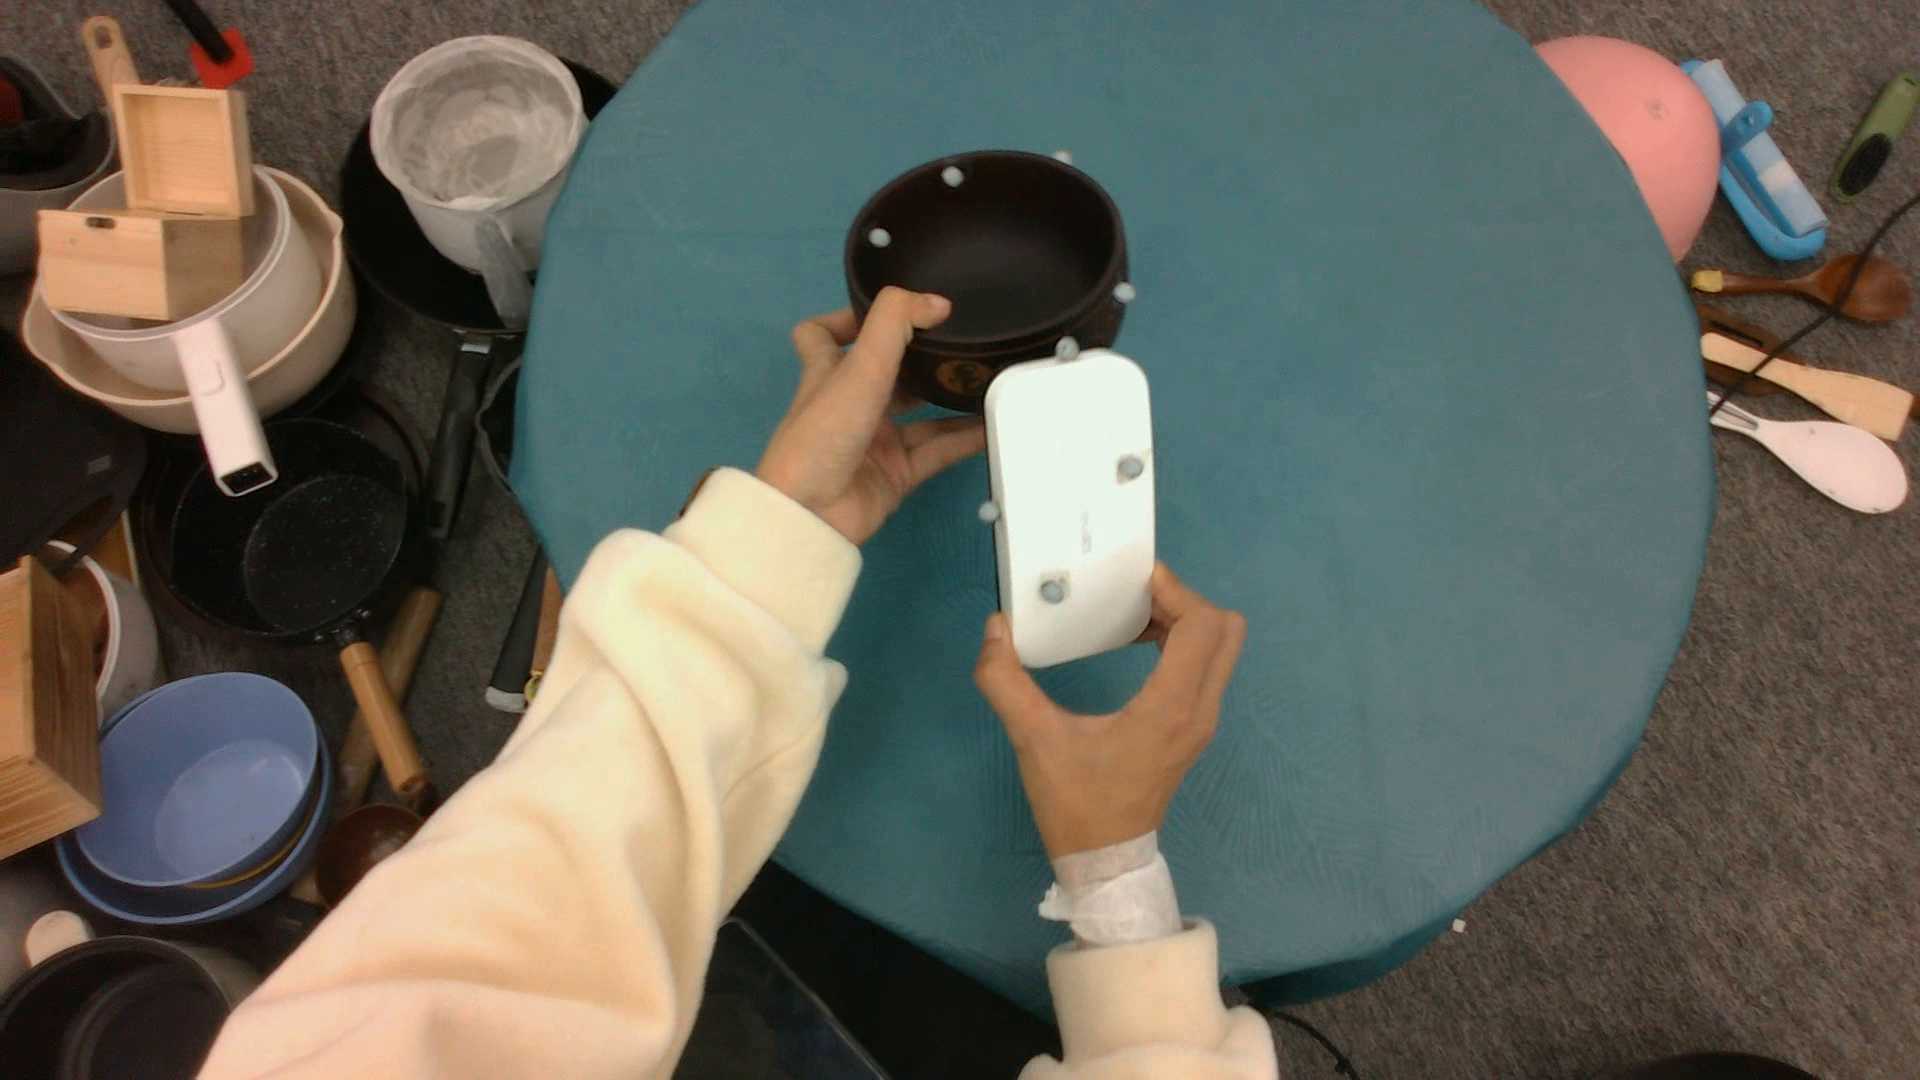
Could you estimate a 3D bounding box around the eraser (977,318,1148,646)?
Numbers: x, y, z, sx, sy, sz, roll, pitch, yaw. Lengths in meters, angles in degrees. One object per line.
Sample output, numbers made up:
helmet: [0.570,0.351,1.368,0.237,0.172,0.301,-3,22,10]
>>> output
eraser: [0.039,-0.020,0.535,0.063,0.034,0.131,-12,120,-13]

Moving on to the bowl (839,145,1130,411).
bowl: [0.013,-0.102,0.578,0.118,0.069,0.118,-5,53,7]
